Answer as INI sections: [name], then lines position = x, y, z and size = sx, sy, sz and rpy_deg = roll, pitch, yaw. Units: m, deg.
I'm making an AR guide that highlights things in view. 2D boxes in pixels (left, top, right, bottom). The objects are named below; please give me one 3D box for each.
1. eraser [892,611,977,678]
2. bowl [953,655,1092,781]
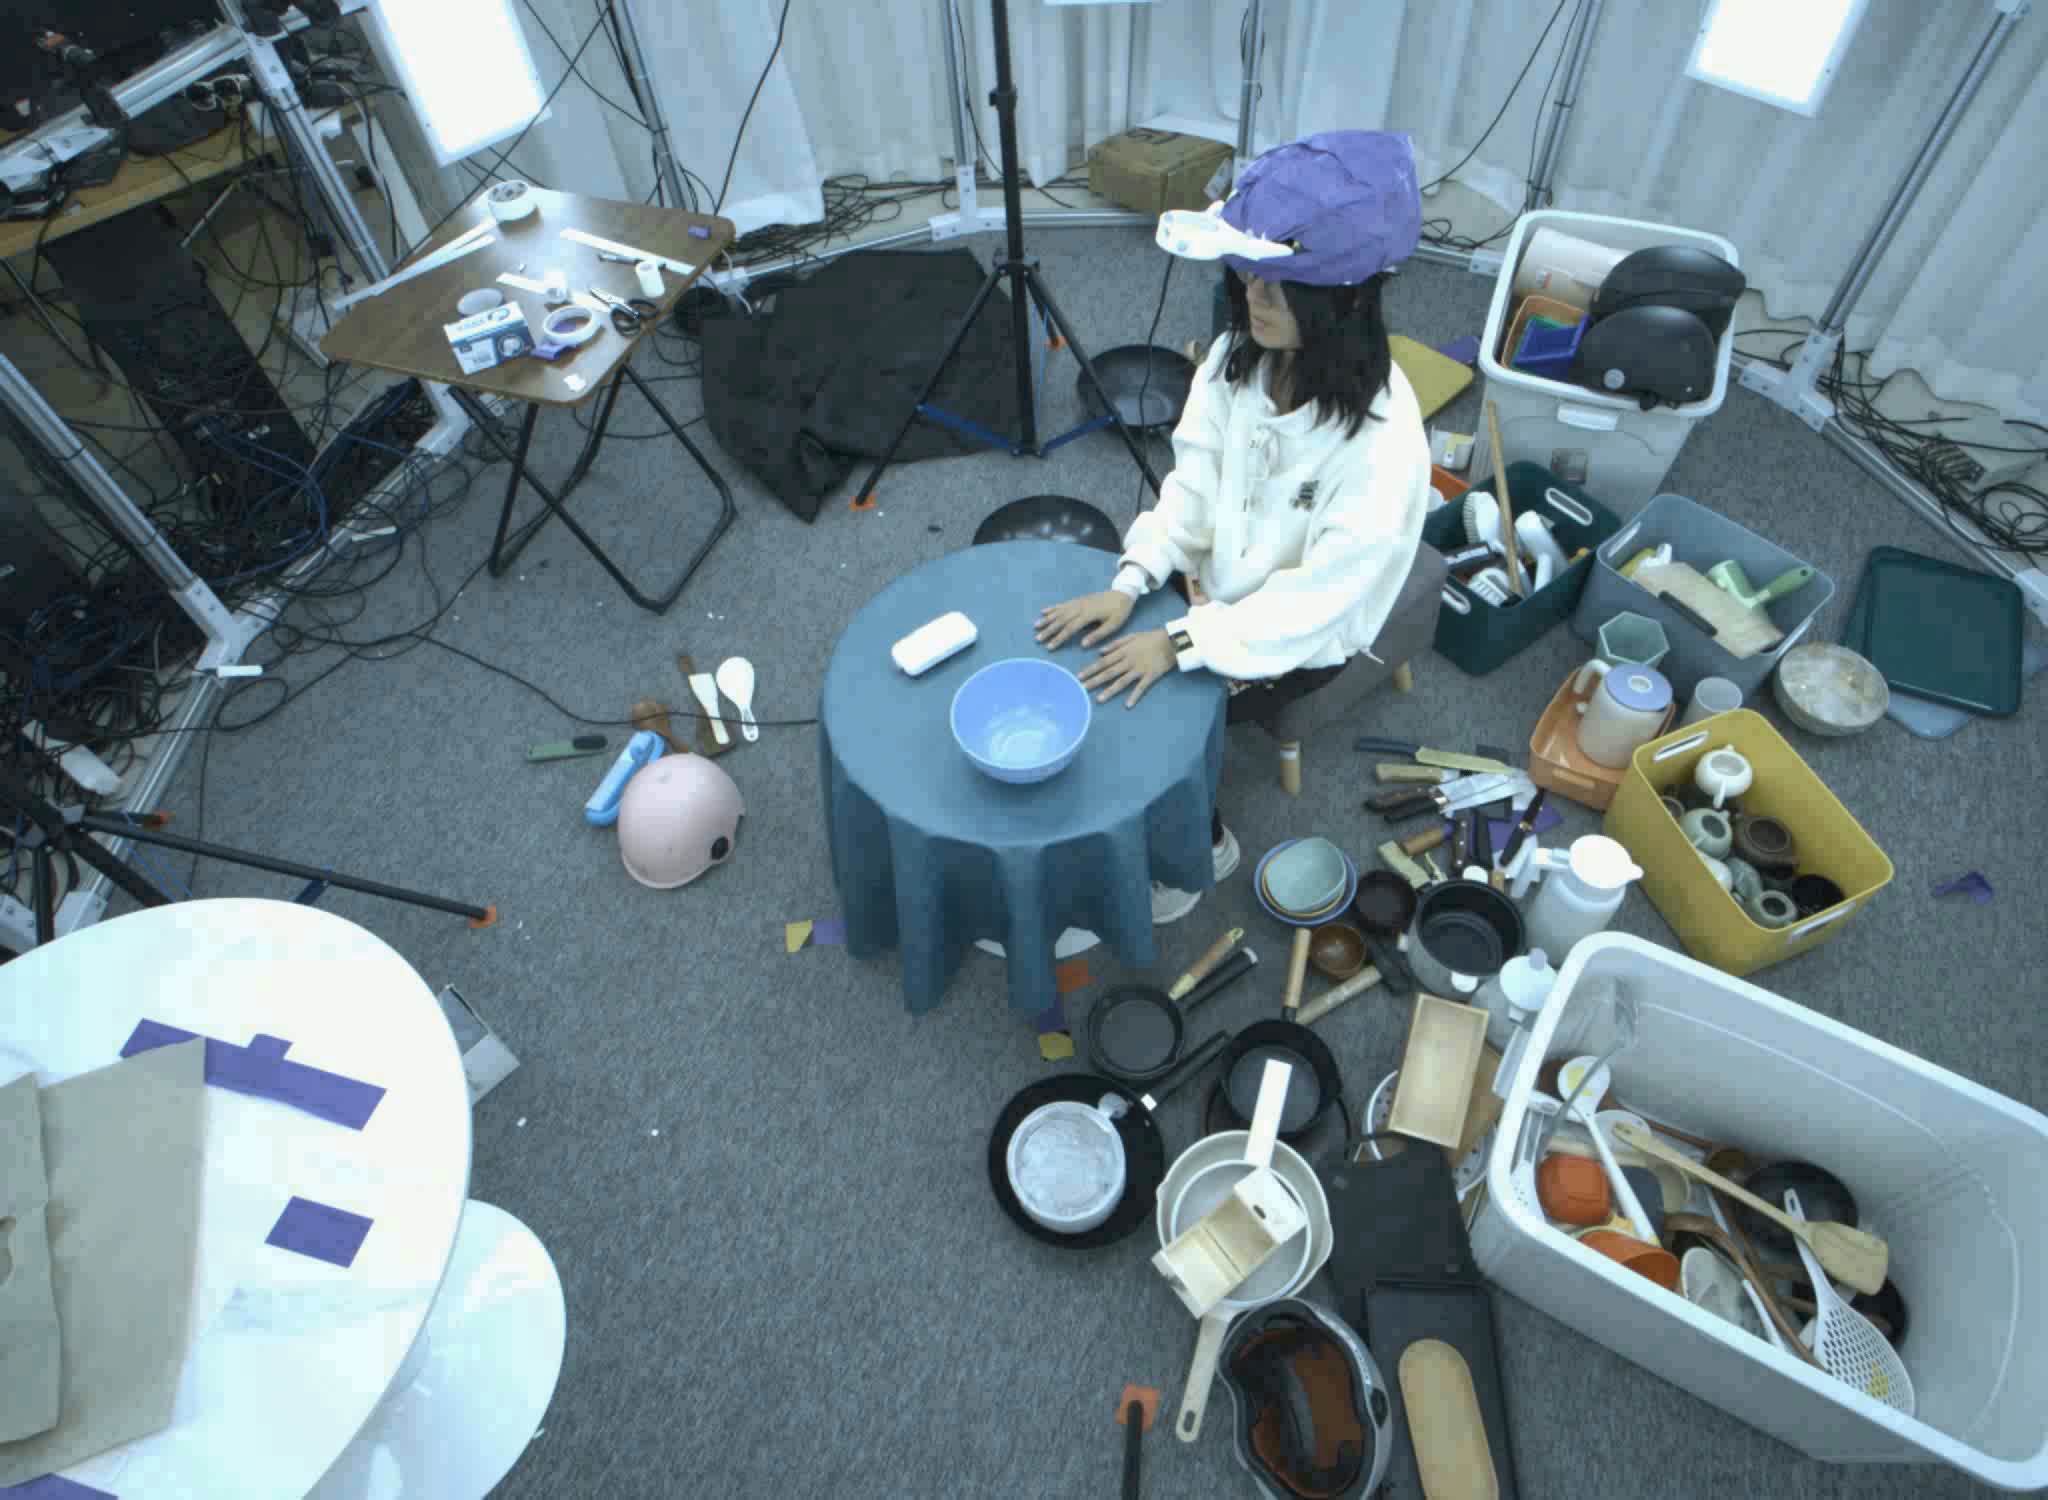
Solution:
[eraser]
position = -0.137, -0.163, 1.889
size = 0.132, 0.035, 0.062
rpy_deg = -33, 61, -19
[bowl]
position = 0.004, -0.030, 1.752
size = 0.196, 0.097, 0.194
rpy_deg = -4, 55, 6
